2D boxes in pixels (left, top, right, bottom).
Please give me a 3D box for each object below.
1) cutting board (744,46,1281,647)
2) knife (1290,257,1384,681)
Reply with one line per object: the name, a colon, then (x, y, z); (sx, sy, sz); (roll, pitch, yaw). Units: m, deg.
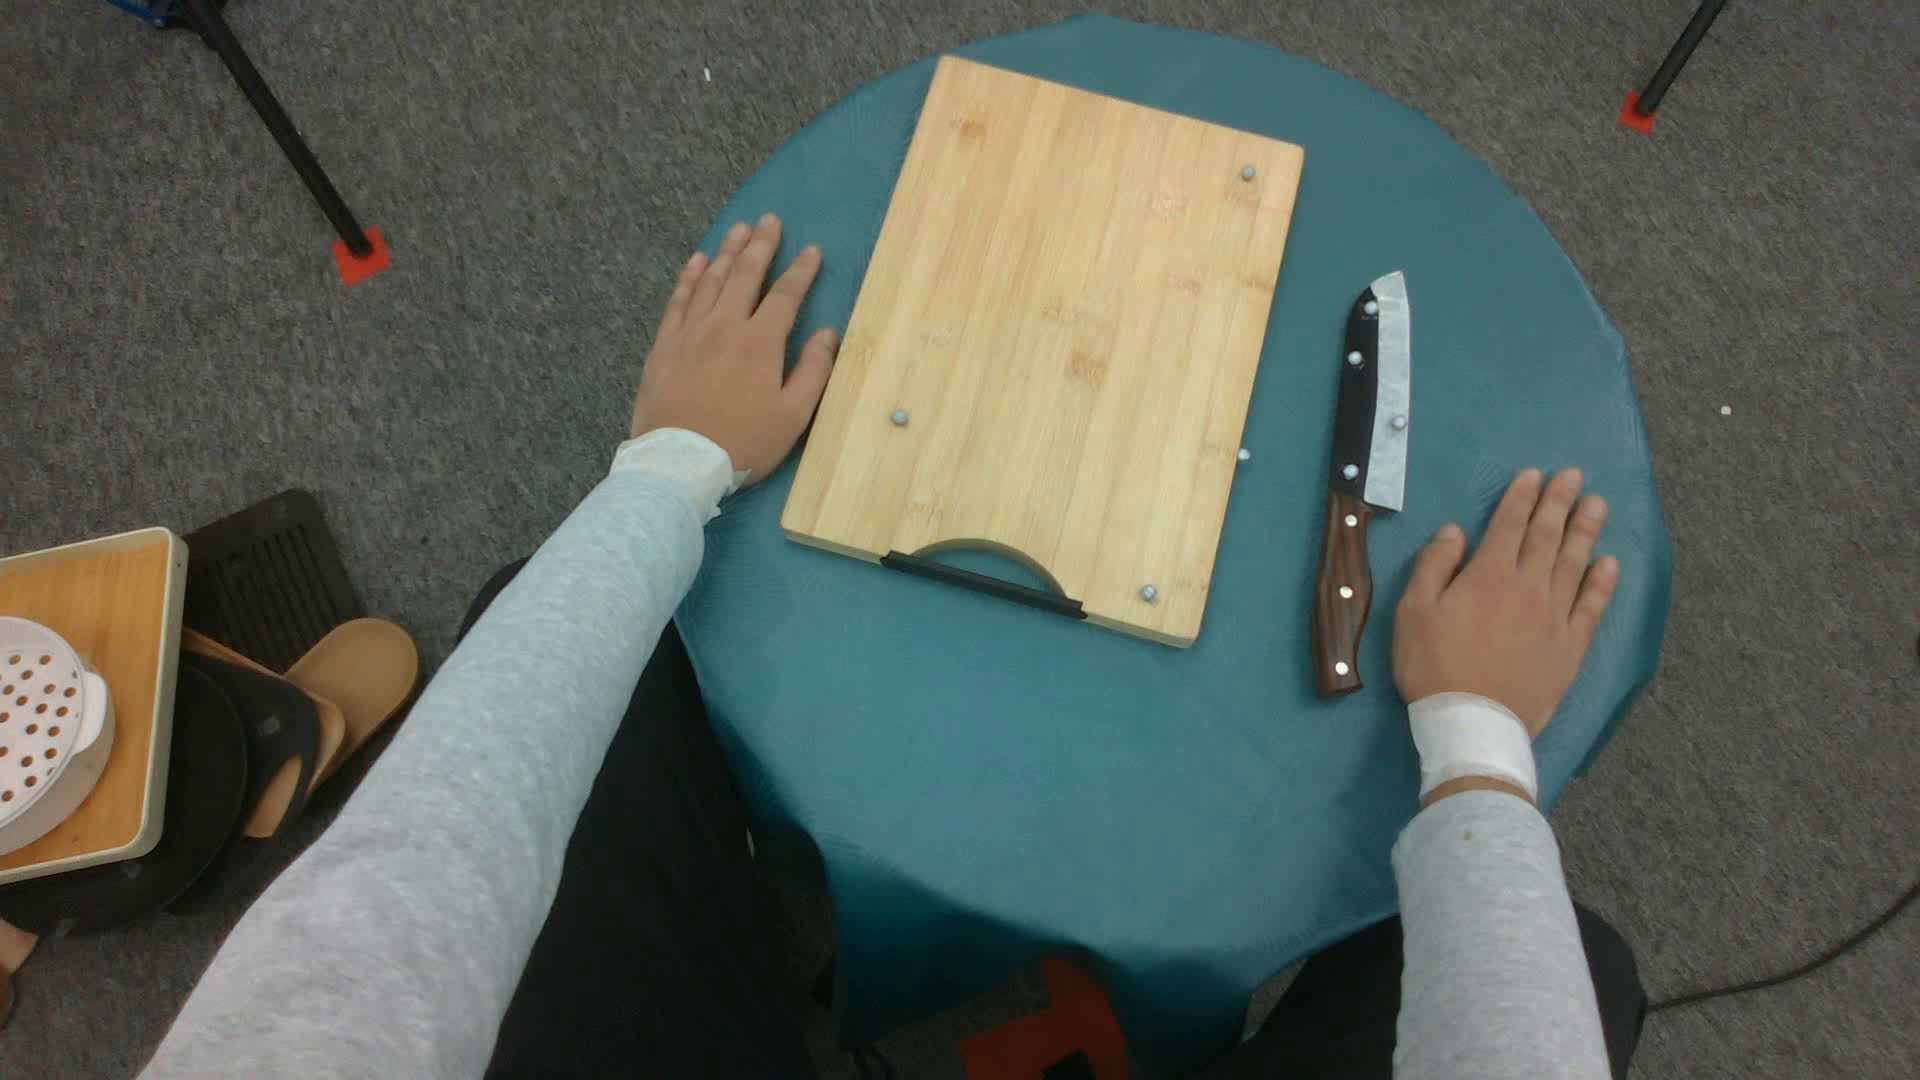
cutting board: (0.043, -0.128, 0.823); (0.251, 0.023, 0.350); (14, 68, 2)
knife: (0.223, -0.051, 0.808); (0.050, 0.020, 0.290); (16, 66, -4)
